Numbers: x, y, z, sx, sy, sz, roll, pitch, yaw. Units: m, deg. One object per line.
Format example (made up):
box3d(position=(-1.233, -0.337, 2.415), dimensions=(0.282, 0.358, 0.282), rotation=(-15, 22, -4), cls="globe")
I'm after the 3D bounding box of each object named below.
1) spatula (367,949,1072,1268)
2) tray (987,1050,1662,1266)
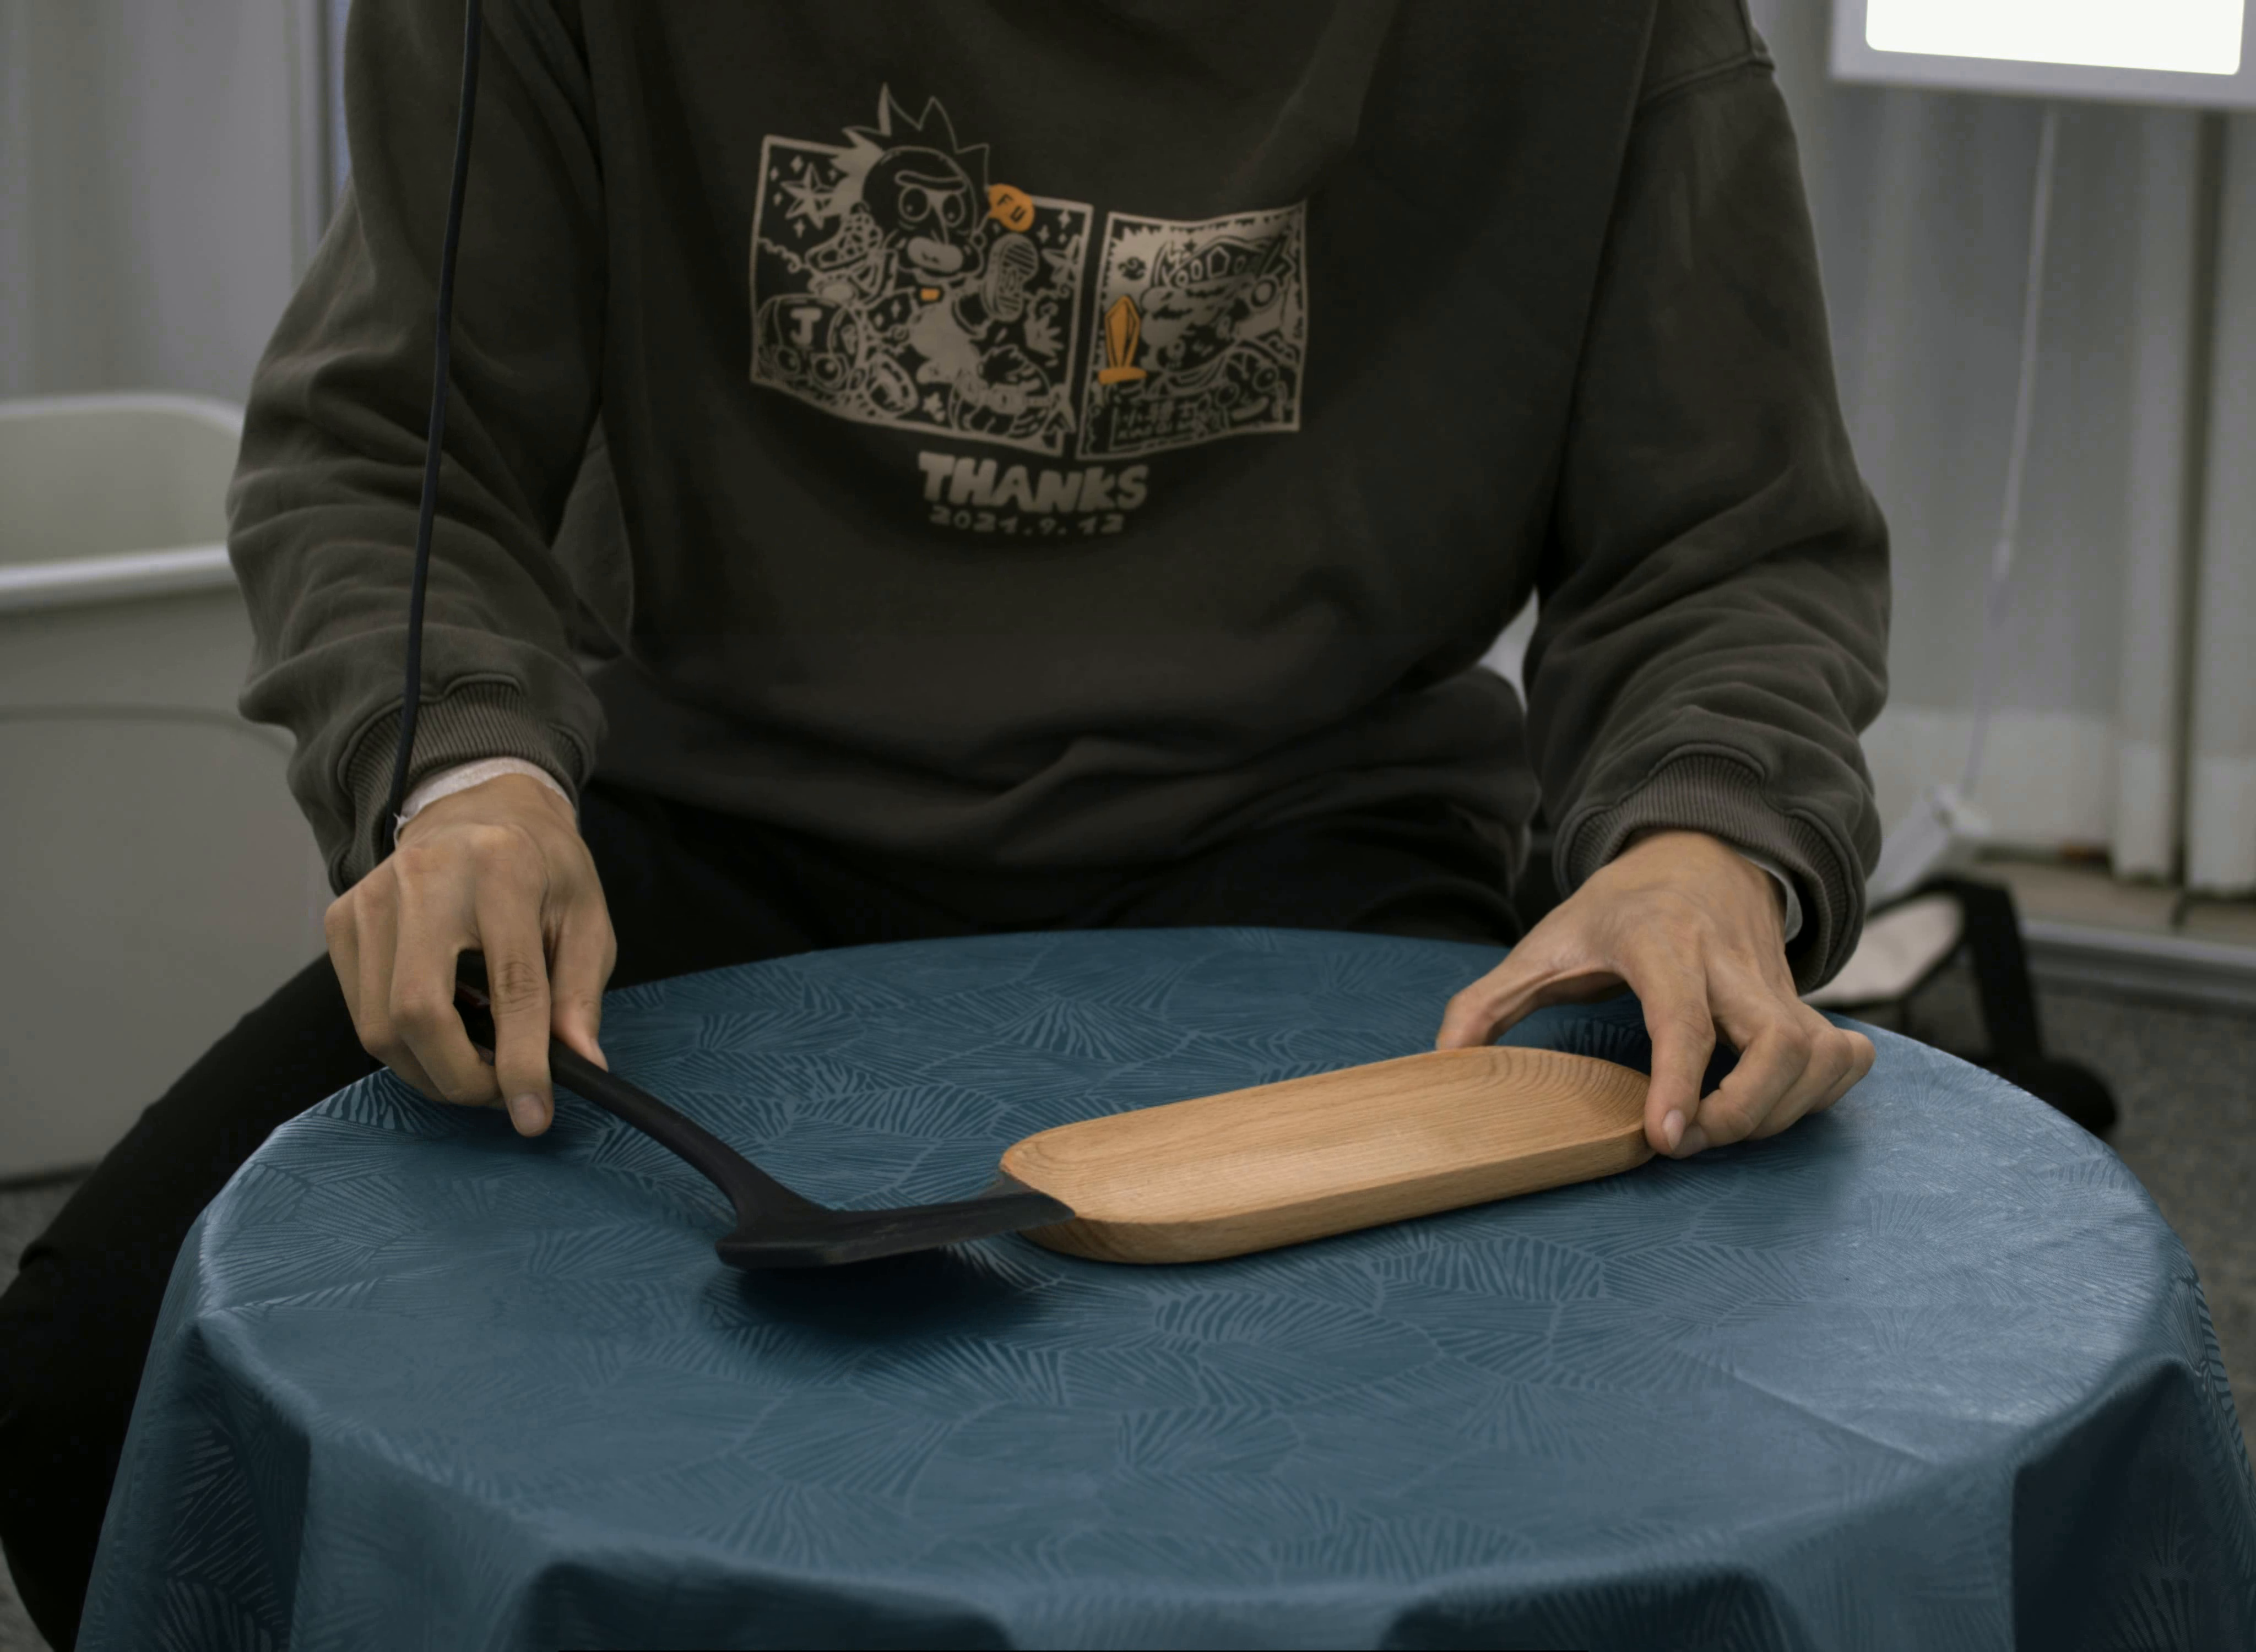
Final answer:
box3d(position=(-0.149, 0.083, 1.626), dimensions=(0.100, 0.040, 0.321), rotation=(-6, 24, -39), cls="spatula")
box3d(position=(0.063, 0.103, 1.639), dimensions=(0.232, 0.020, 0.100), rotation=(-10, 18, -31), cls="tray")
